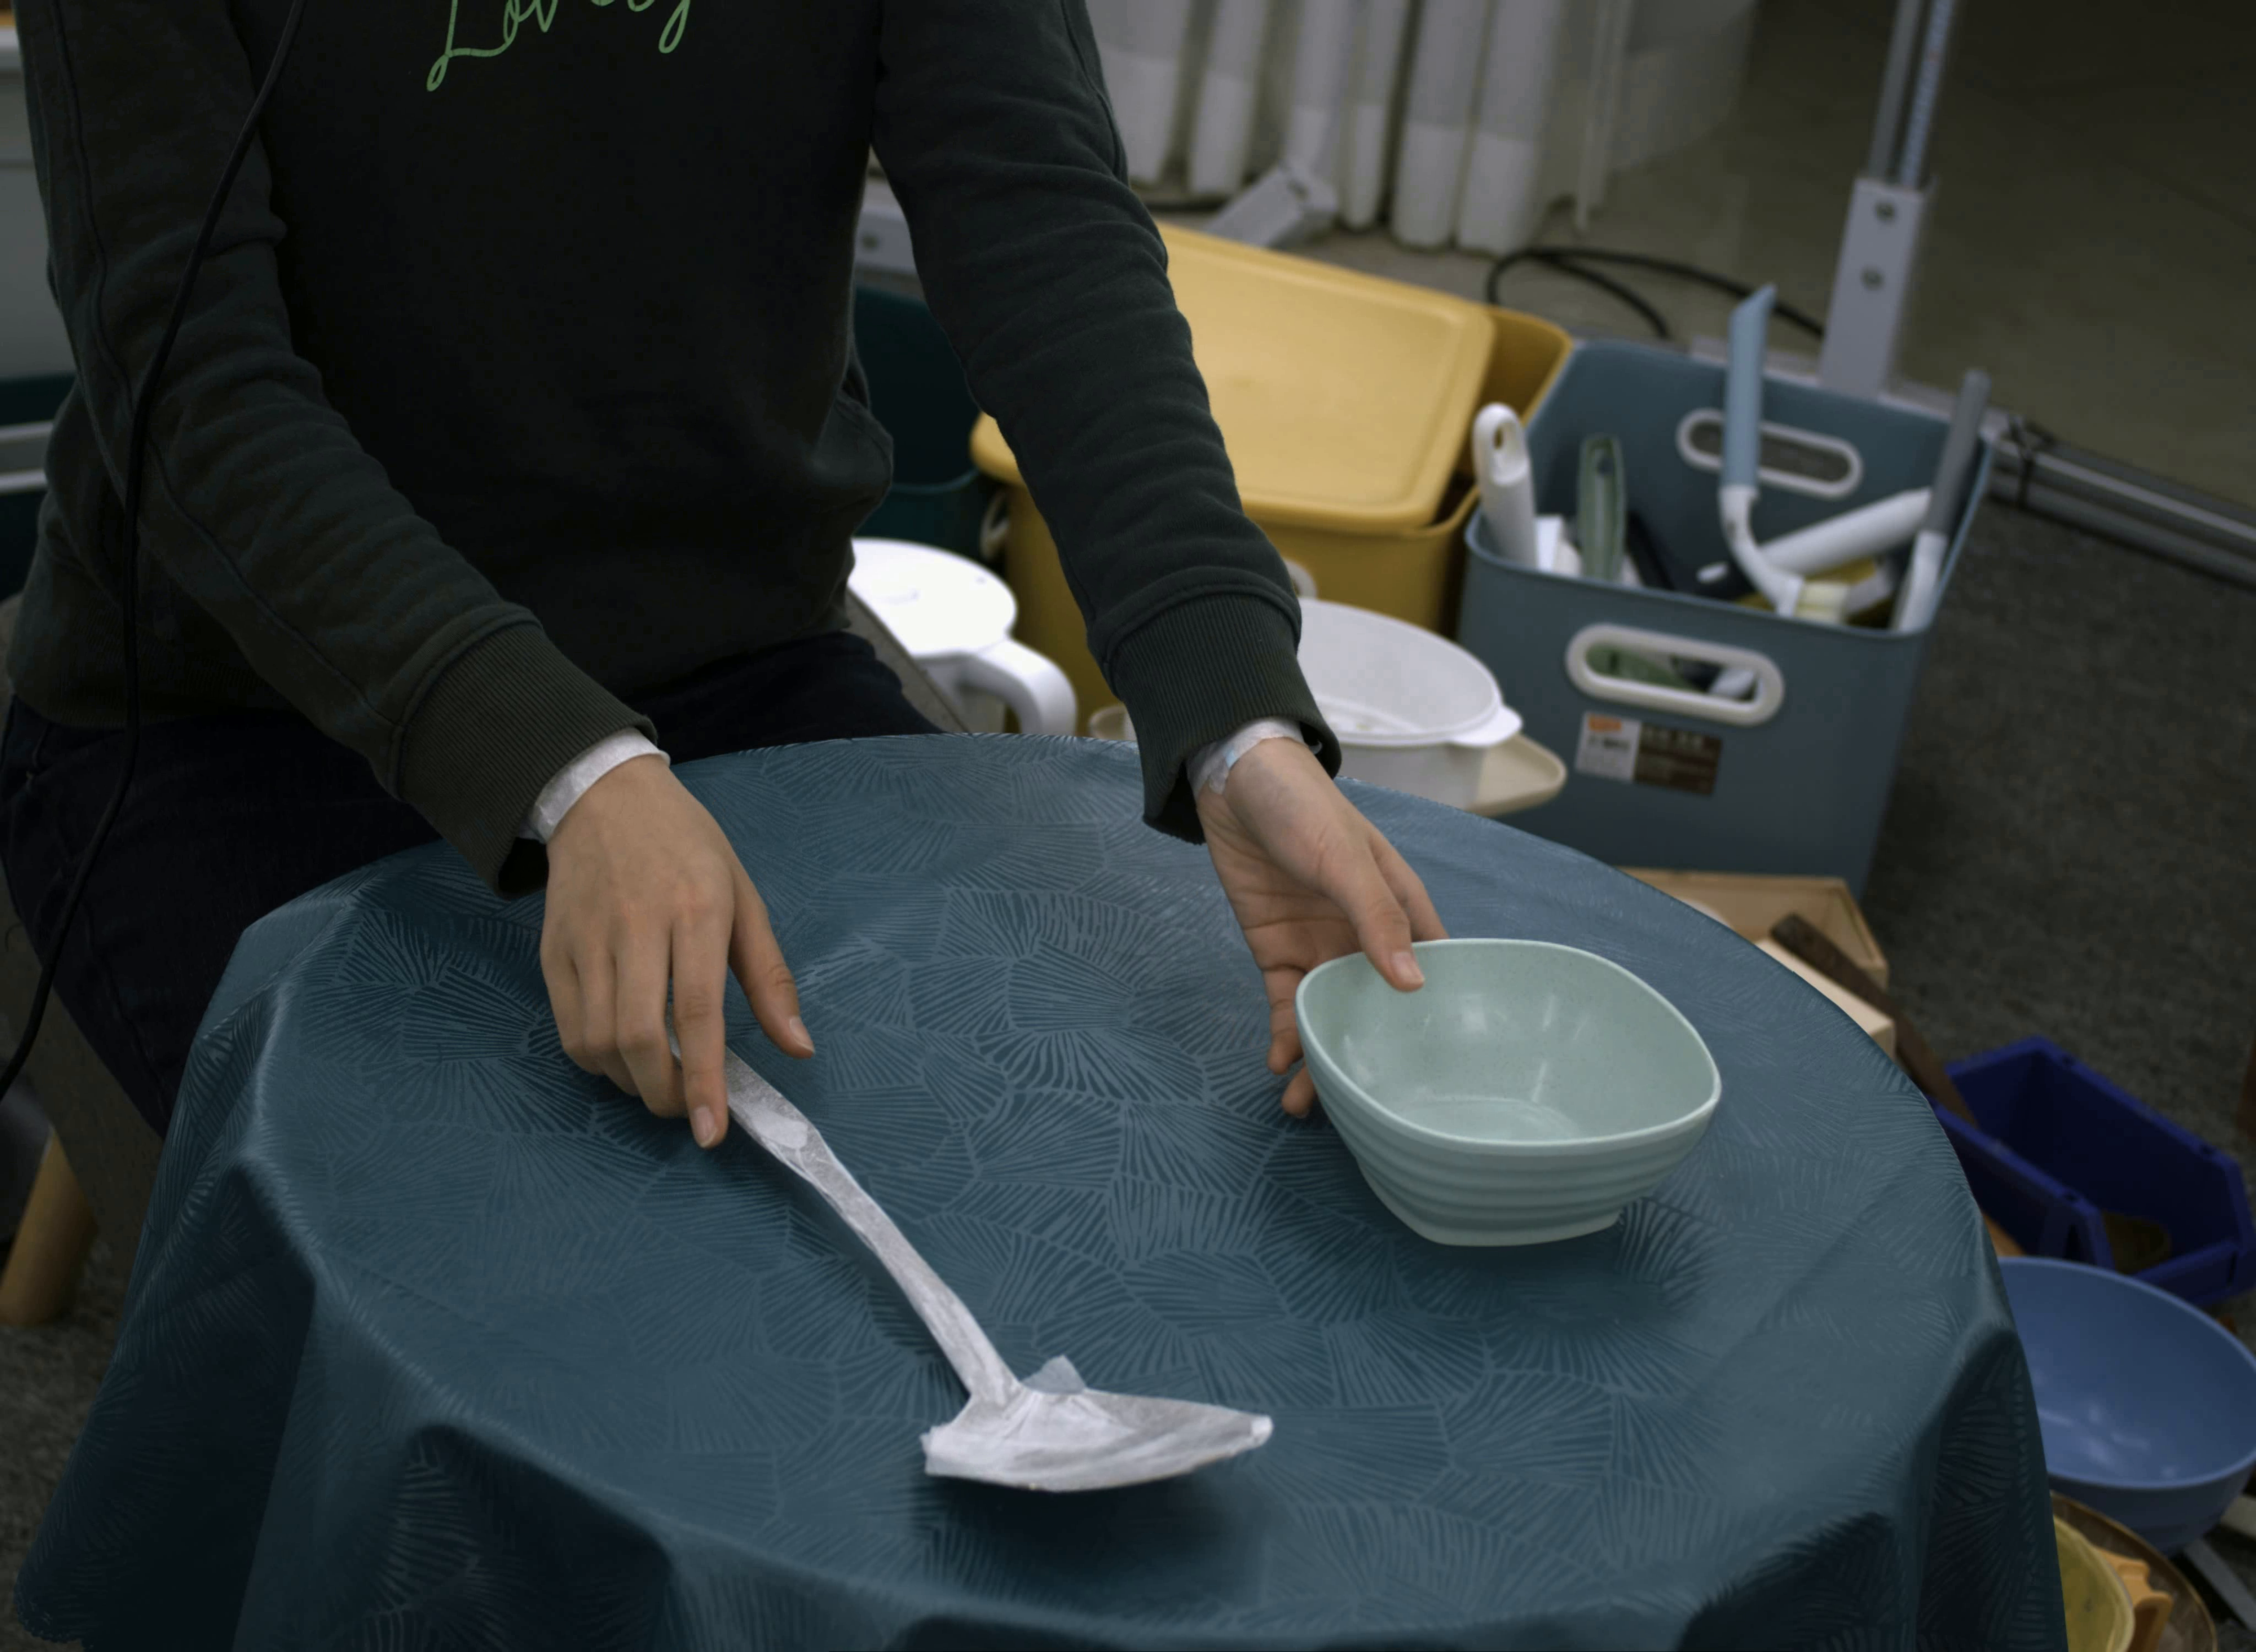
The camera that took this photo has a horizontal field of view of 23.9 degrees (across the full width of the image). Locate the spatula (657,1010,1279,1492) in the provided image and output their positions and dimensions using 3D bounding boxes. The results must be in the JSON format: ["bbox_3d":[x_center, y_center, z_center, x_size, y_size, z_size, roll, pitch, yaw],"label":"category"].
[{"bbox_3d":[-0.077,0.129,1.729,0.098,0.044,0.368,-11,32,-27],"label":"spatula"}]

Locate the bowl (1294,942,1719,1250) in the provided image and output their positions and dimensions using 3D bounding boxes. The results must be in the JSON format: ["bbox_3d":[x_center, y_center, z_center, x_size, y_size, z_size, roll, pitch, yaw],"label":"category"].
[{"bbox_3d":[0.124,0.098,1.818,0.151,0.058,0.152,7,26,-4],"label":"bowl"}]
